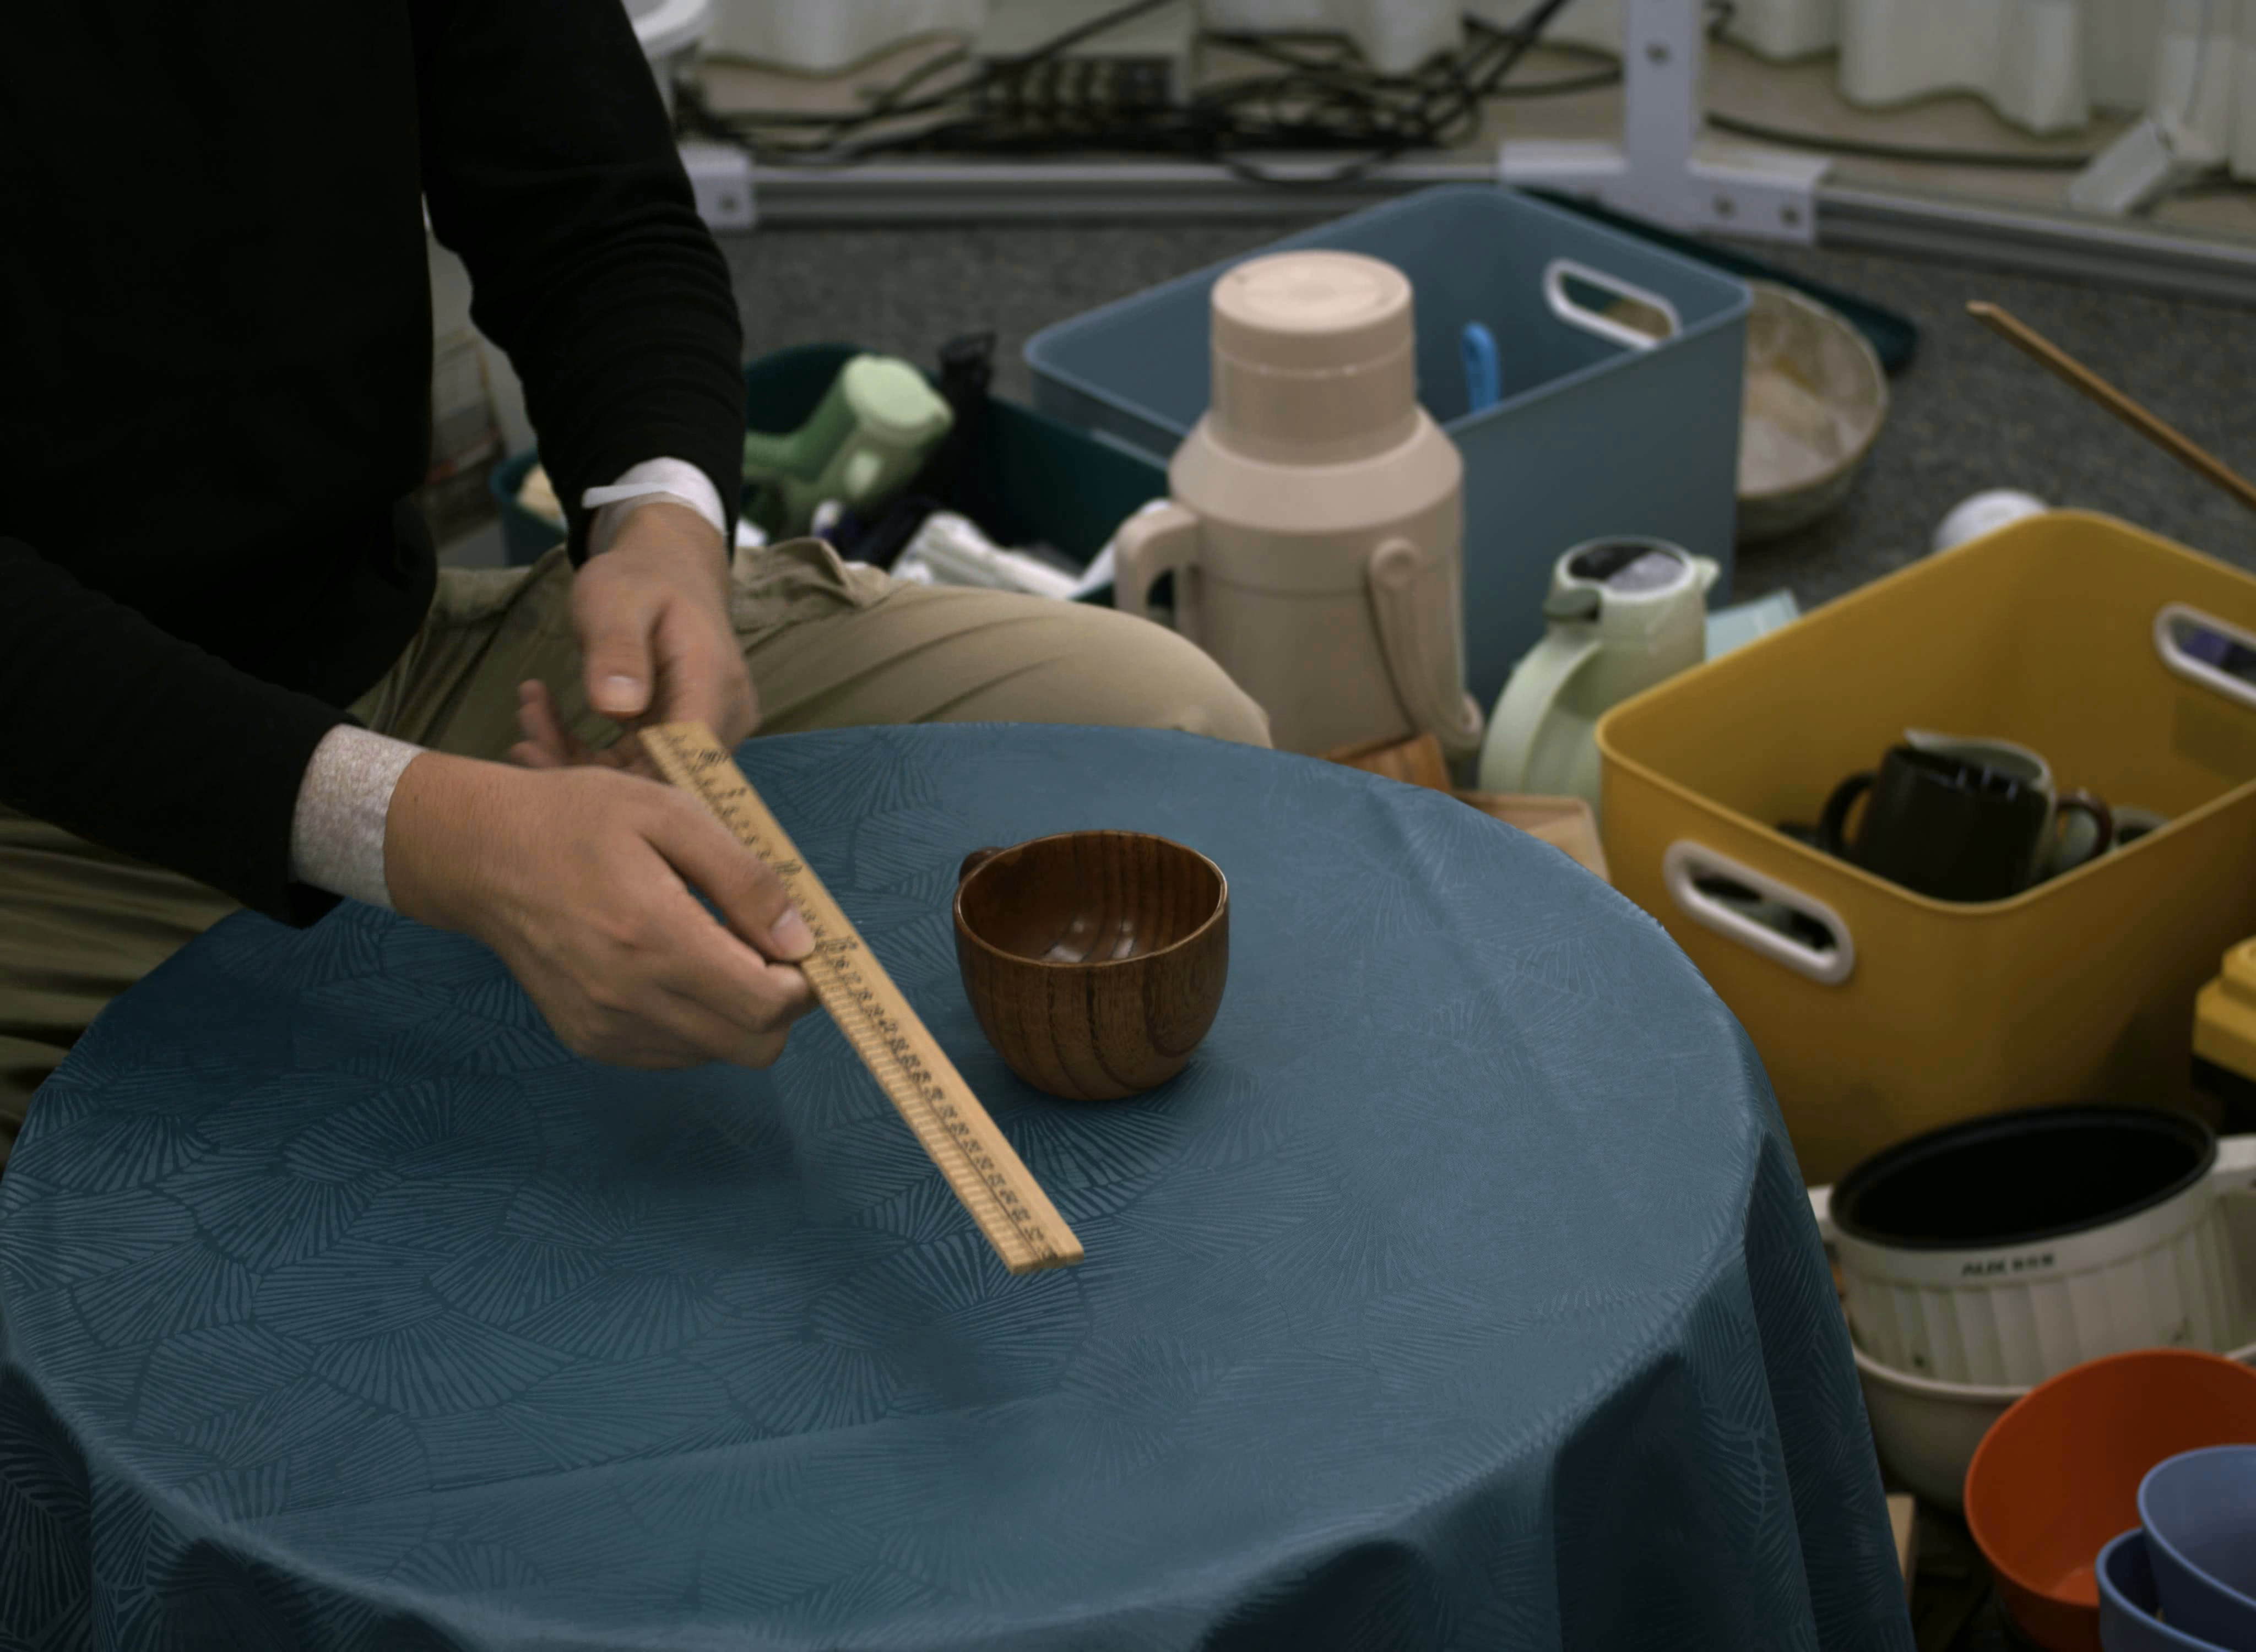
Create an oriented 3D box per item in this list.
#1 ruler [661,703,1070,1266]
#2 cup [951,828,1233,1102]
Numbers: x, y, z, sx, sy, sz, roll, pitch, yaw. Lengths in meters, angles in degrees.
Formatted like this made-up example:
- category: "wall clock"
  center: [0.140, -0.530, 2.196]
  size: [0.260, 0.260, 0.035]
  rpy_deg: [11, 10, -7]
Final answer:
- category: "ruler"
  center: [-0.091, 0.044, 1.846]
  size: [0.027, 0.022, 0.335]
  rpy_deg: [-4, 32, -23]
- category: "cup"
  center: [-0.017, 0.048, 1.936]
  size: [0.097, 0.067, 0.119]
  rpy_deg: [-25, 33, -33]
